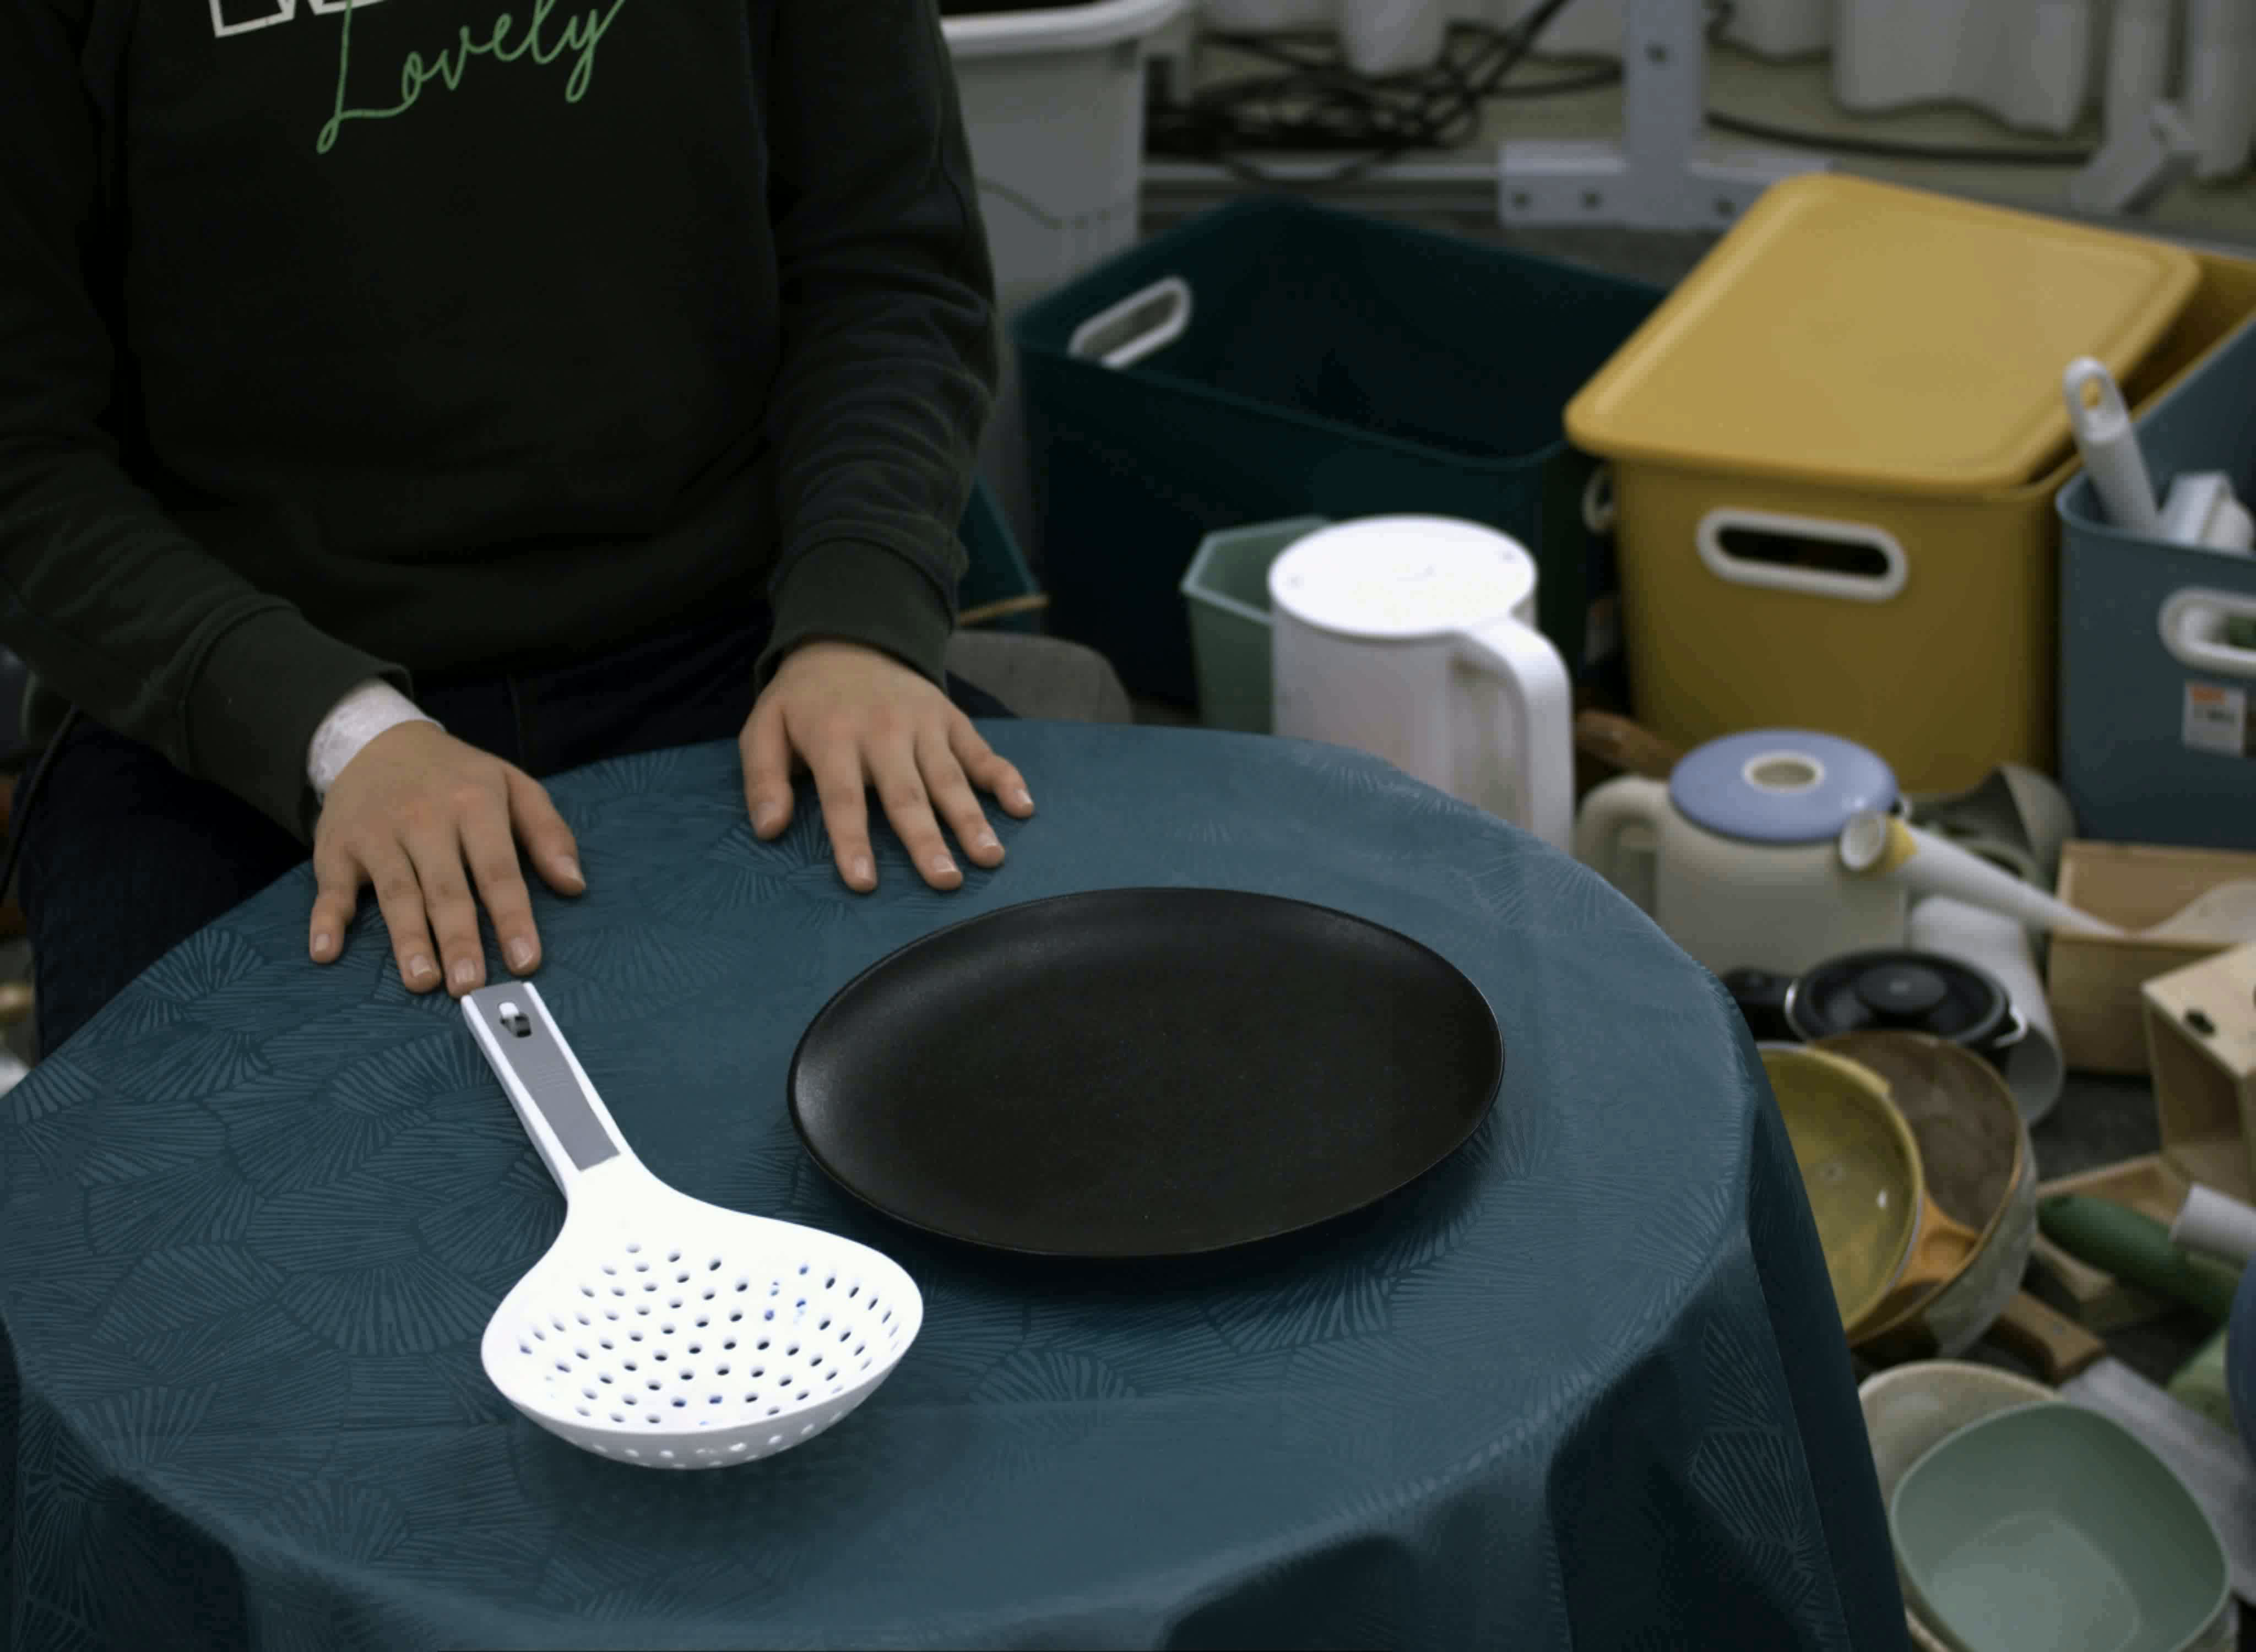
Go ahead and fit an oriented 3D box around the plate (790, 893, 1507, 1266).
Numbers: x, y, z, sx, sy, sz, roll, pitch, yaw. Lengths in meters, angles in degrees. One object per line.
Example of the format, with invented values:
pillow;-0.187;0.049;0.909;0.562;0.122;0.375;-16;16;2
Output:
plate;0.007;0.089;1.899;0.243;0.023;0.248;-2;27;2

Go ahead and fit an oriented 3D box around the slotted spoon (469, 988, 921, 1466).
slotted spoon;-0.166;0.124;1.825;0.136;0.045;0.352;-9;27;-16
